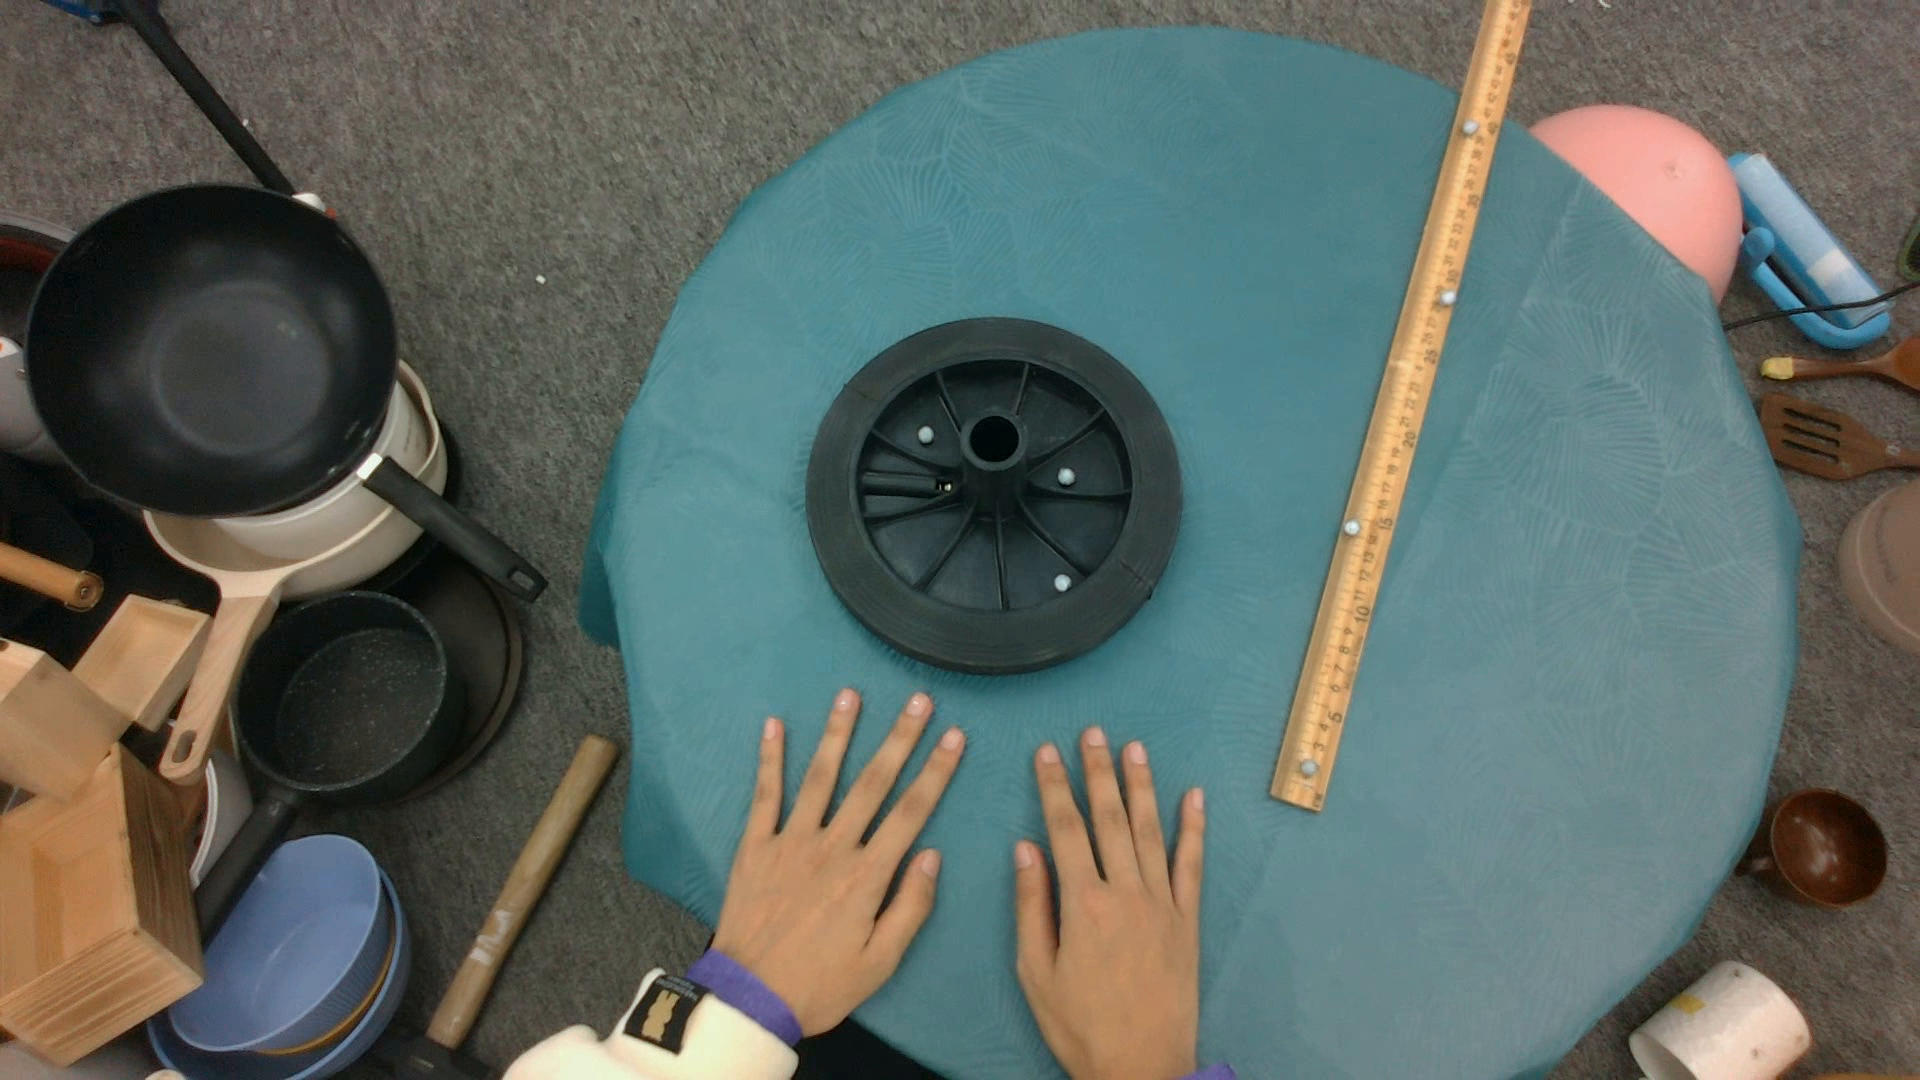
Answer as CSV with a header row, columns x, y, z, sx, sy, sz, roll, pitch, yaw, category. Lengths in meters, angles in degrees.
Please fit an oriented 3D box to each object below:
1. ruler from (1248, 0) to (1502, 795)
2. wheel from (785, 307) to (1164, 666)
x,y,z,sx,sy,sz,roll,pitch,yaw,category
0.230,-0.104,0.734,0.027,0.006,0.502,18,71,5,ruler
0.007,-0.037,0.669,0.190,0.079,0.188,-18,71,-6,wheel
